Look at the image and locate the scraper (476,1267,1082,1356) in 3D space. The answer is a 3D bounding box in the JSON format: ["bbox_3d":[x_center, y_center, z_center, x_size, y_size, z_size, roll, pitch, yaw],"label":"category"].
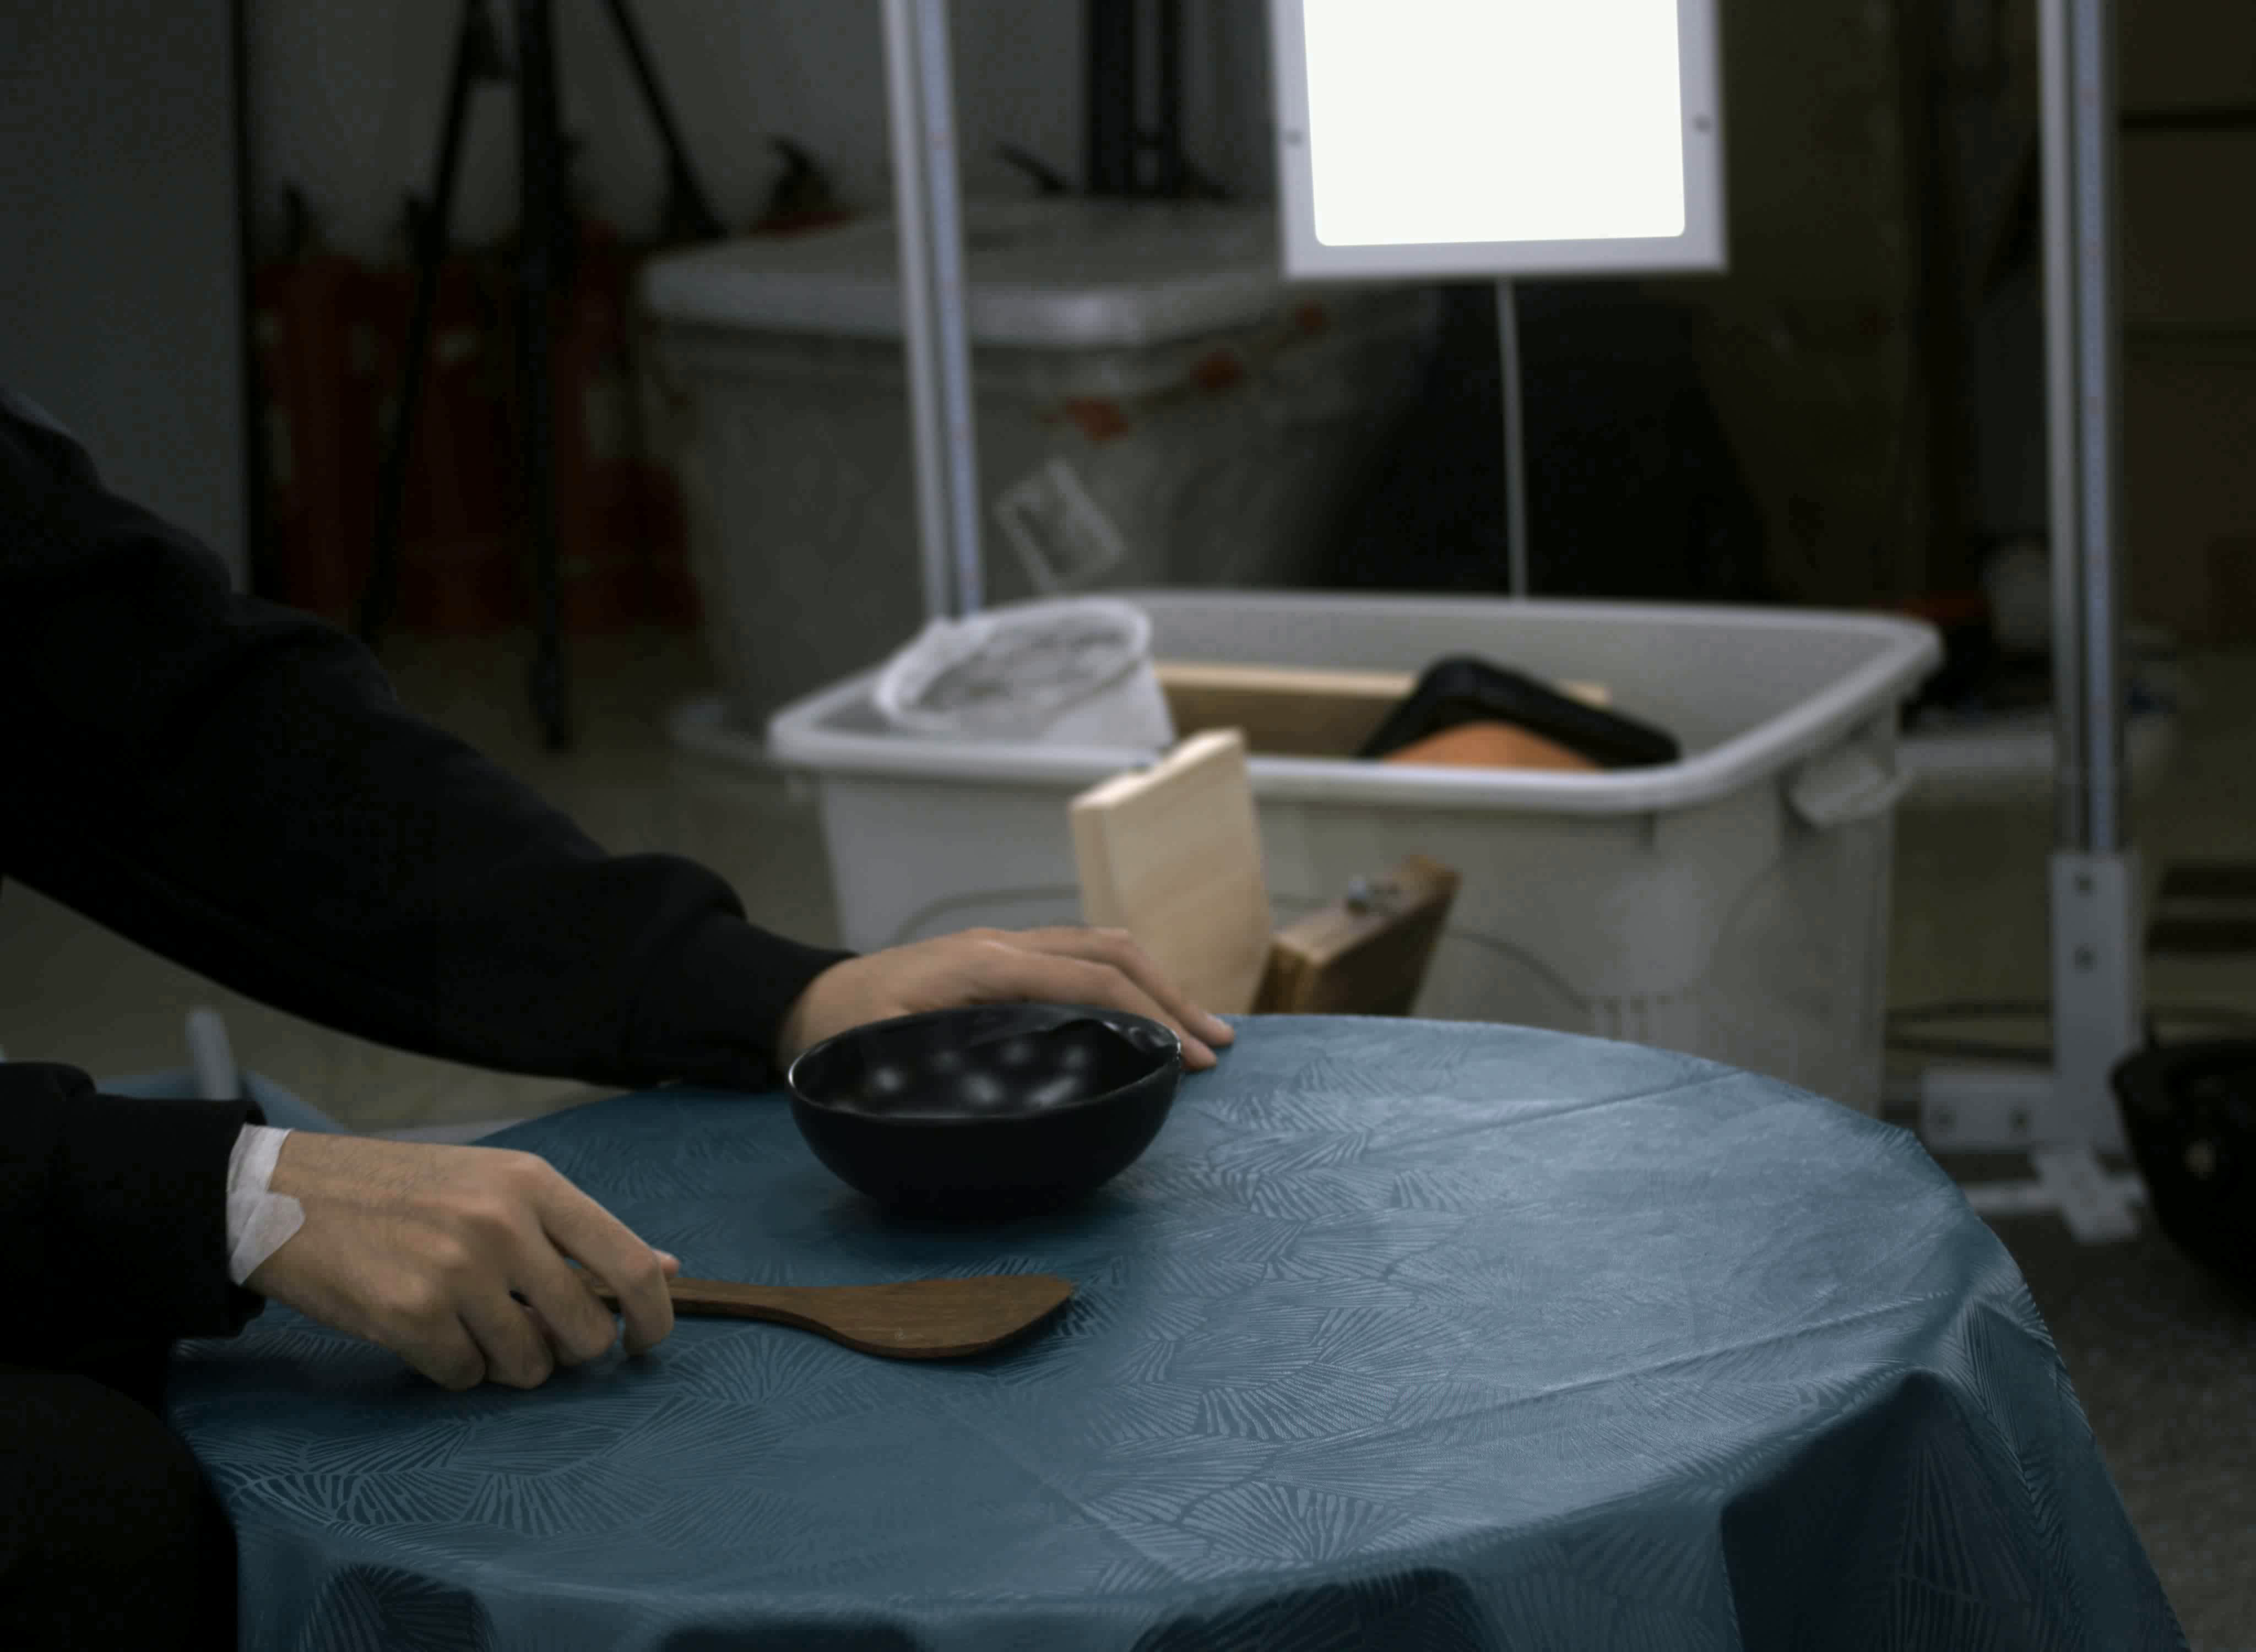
[{"bbox_3d":[-0.118,0.155,1.806,0.215,0.011,0.074,1,14,26],"label":"scraper"}]

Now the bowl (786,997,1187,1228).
[{"bbox_3d":[-0.047,0.104,1.908,0.140,0.050,0.140,-7,16,1],"label":"bowl"}]
